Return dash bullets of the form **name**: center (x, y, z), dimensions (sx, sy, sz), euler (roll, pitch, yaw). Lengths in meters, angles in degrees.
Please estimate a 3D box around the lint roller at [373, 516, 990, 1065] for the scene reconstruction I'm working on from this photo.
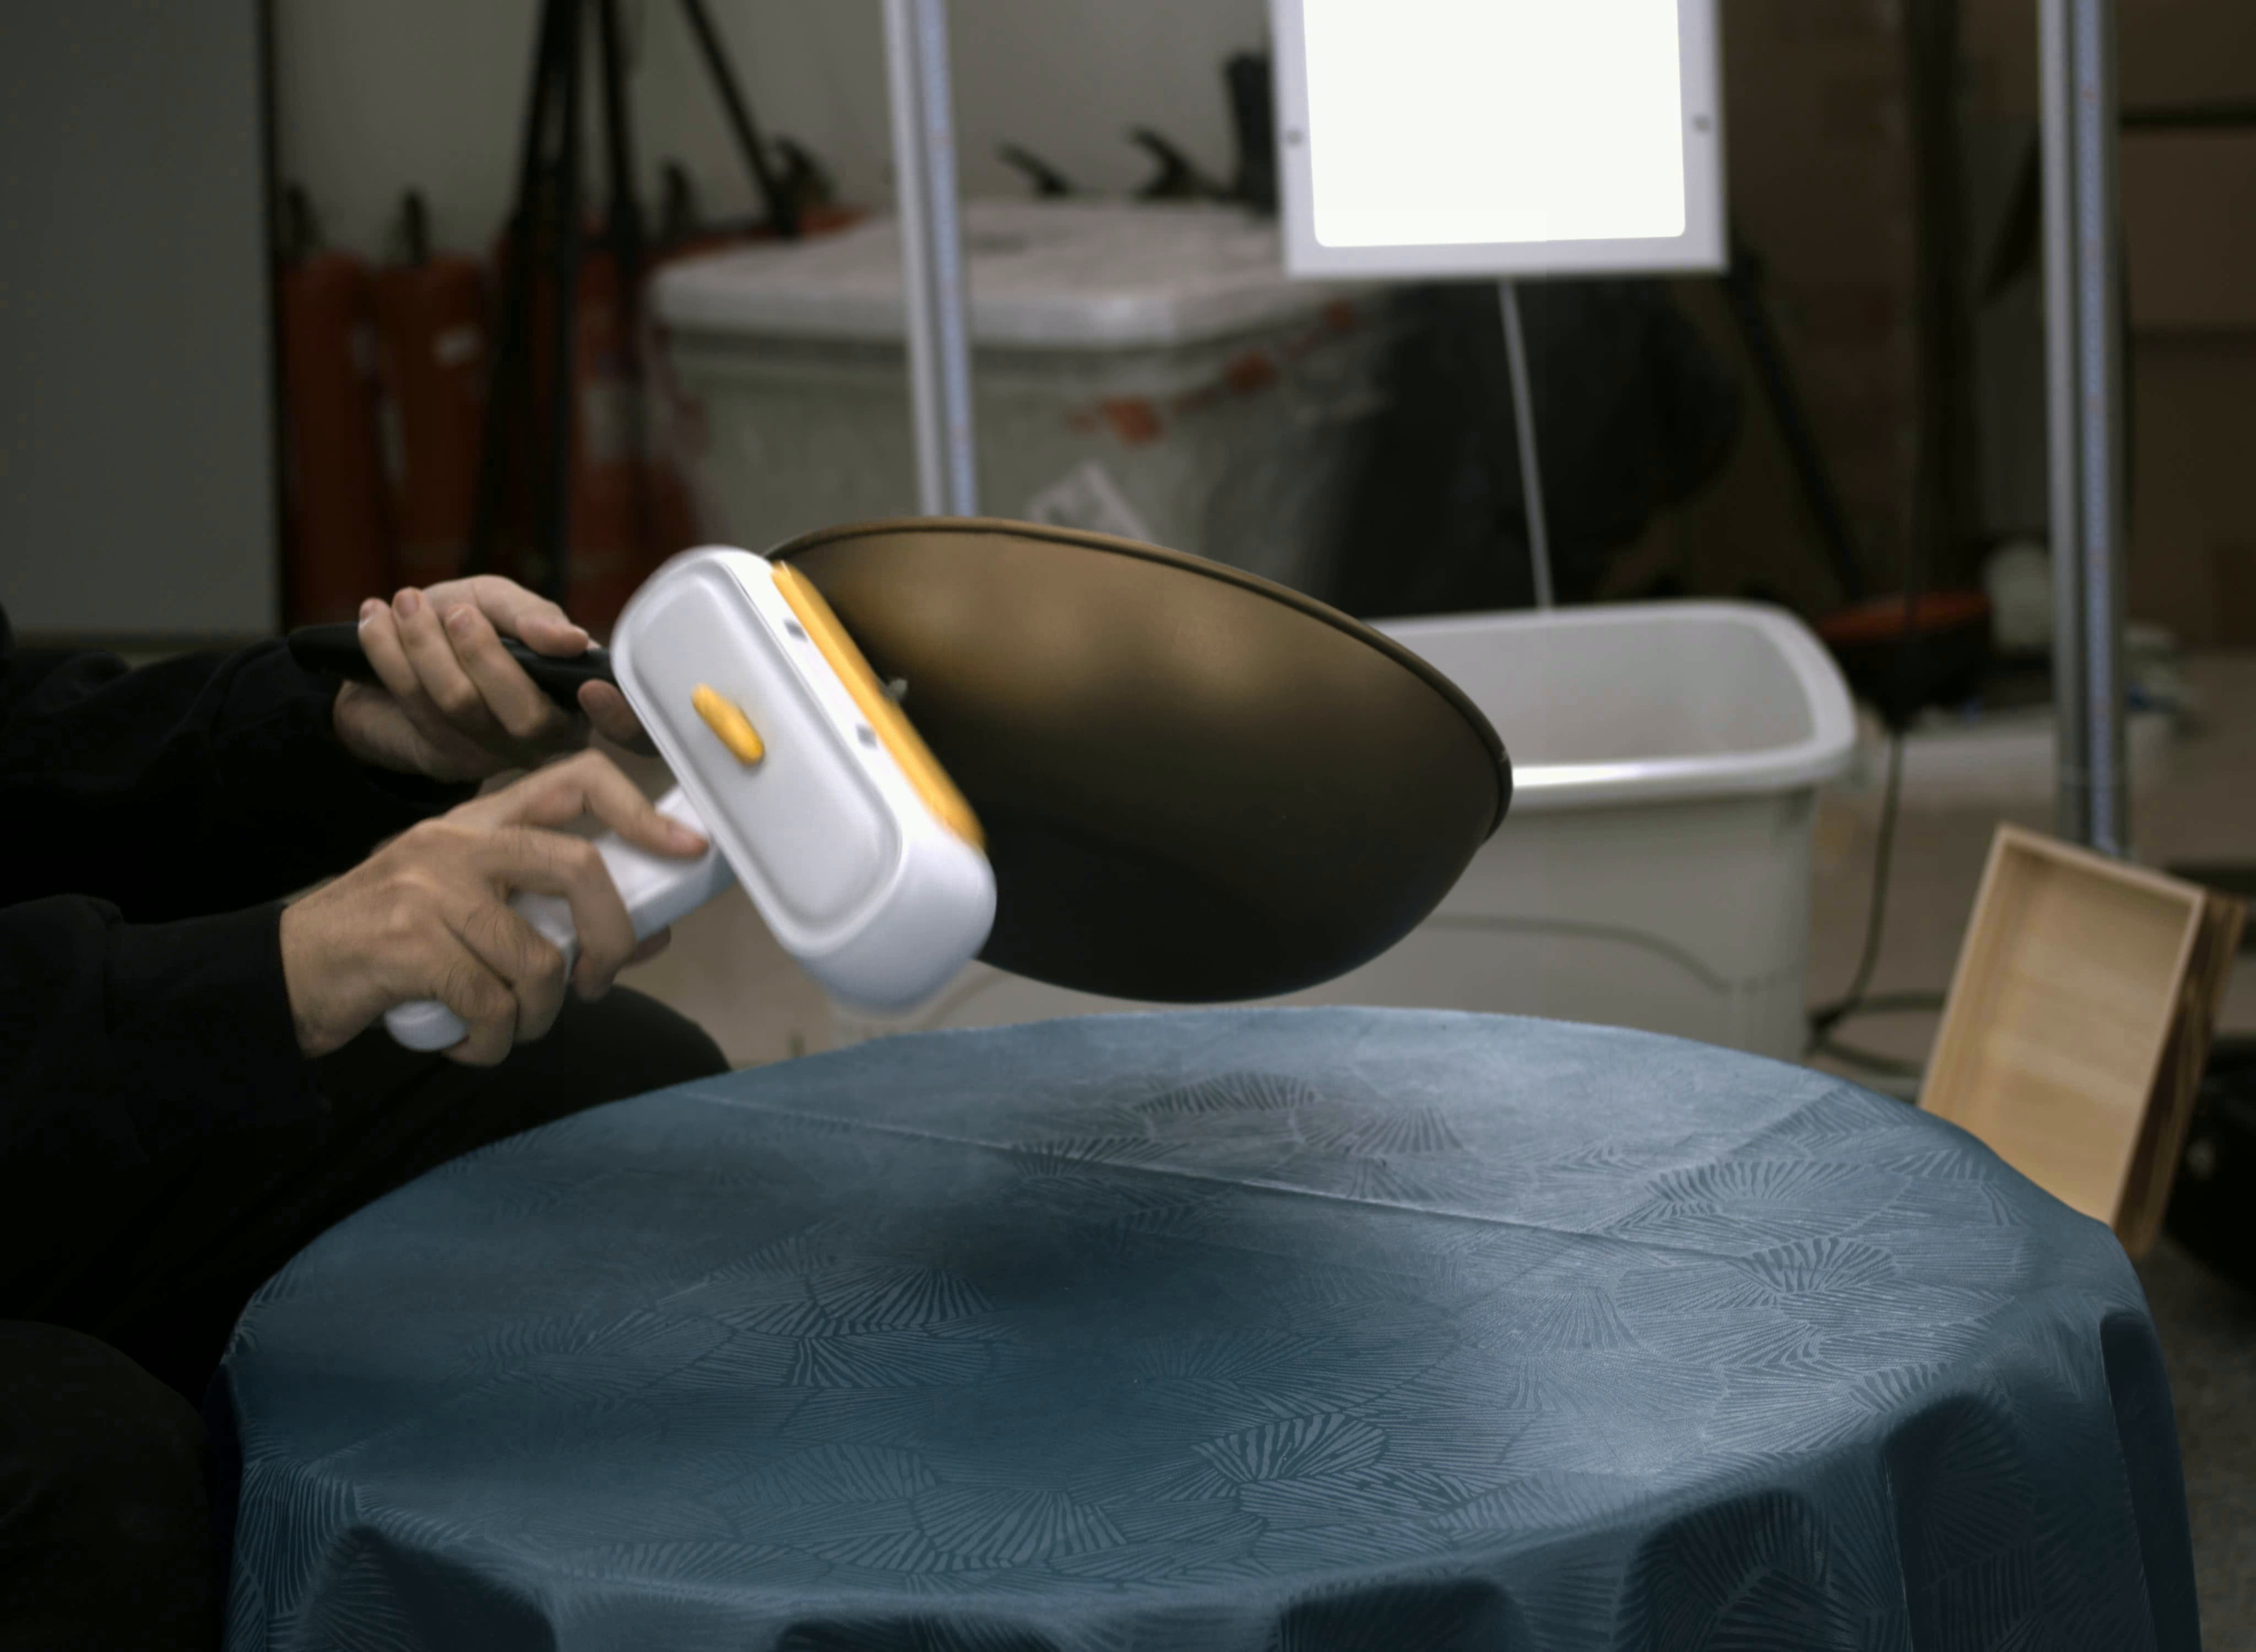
- **lint roller**: center (-0.157, 0.009, 1.773), dimensions (0.195, 0.193, 0.073), euler (48, 3, 37)

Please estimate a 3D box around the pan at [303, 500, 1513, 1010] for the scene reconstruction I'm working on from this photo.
- **pan**: center (-0.097, -0.015, 1.918), dimensions (0.470, 0.086, 0.285), euler (5, -25, 24)
